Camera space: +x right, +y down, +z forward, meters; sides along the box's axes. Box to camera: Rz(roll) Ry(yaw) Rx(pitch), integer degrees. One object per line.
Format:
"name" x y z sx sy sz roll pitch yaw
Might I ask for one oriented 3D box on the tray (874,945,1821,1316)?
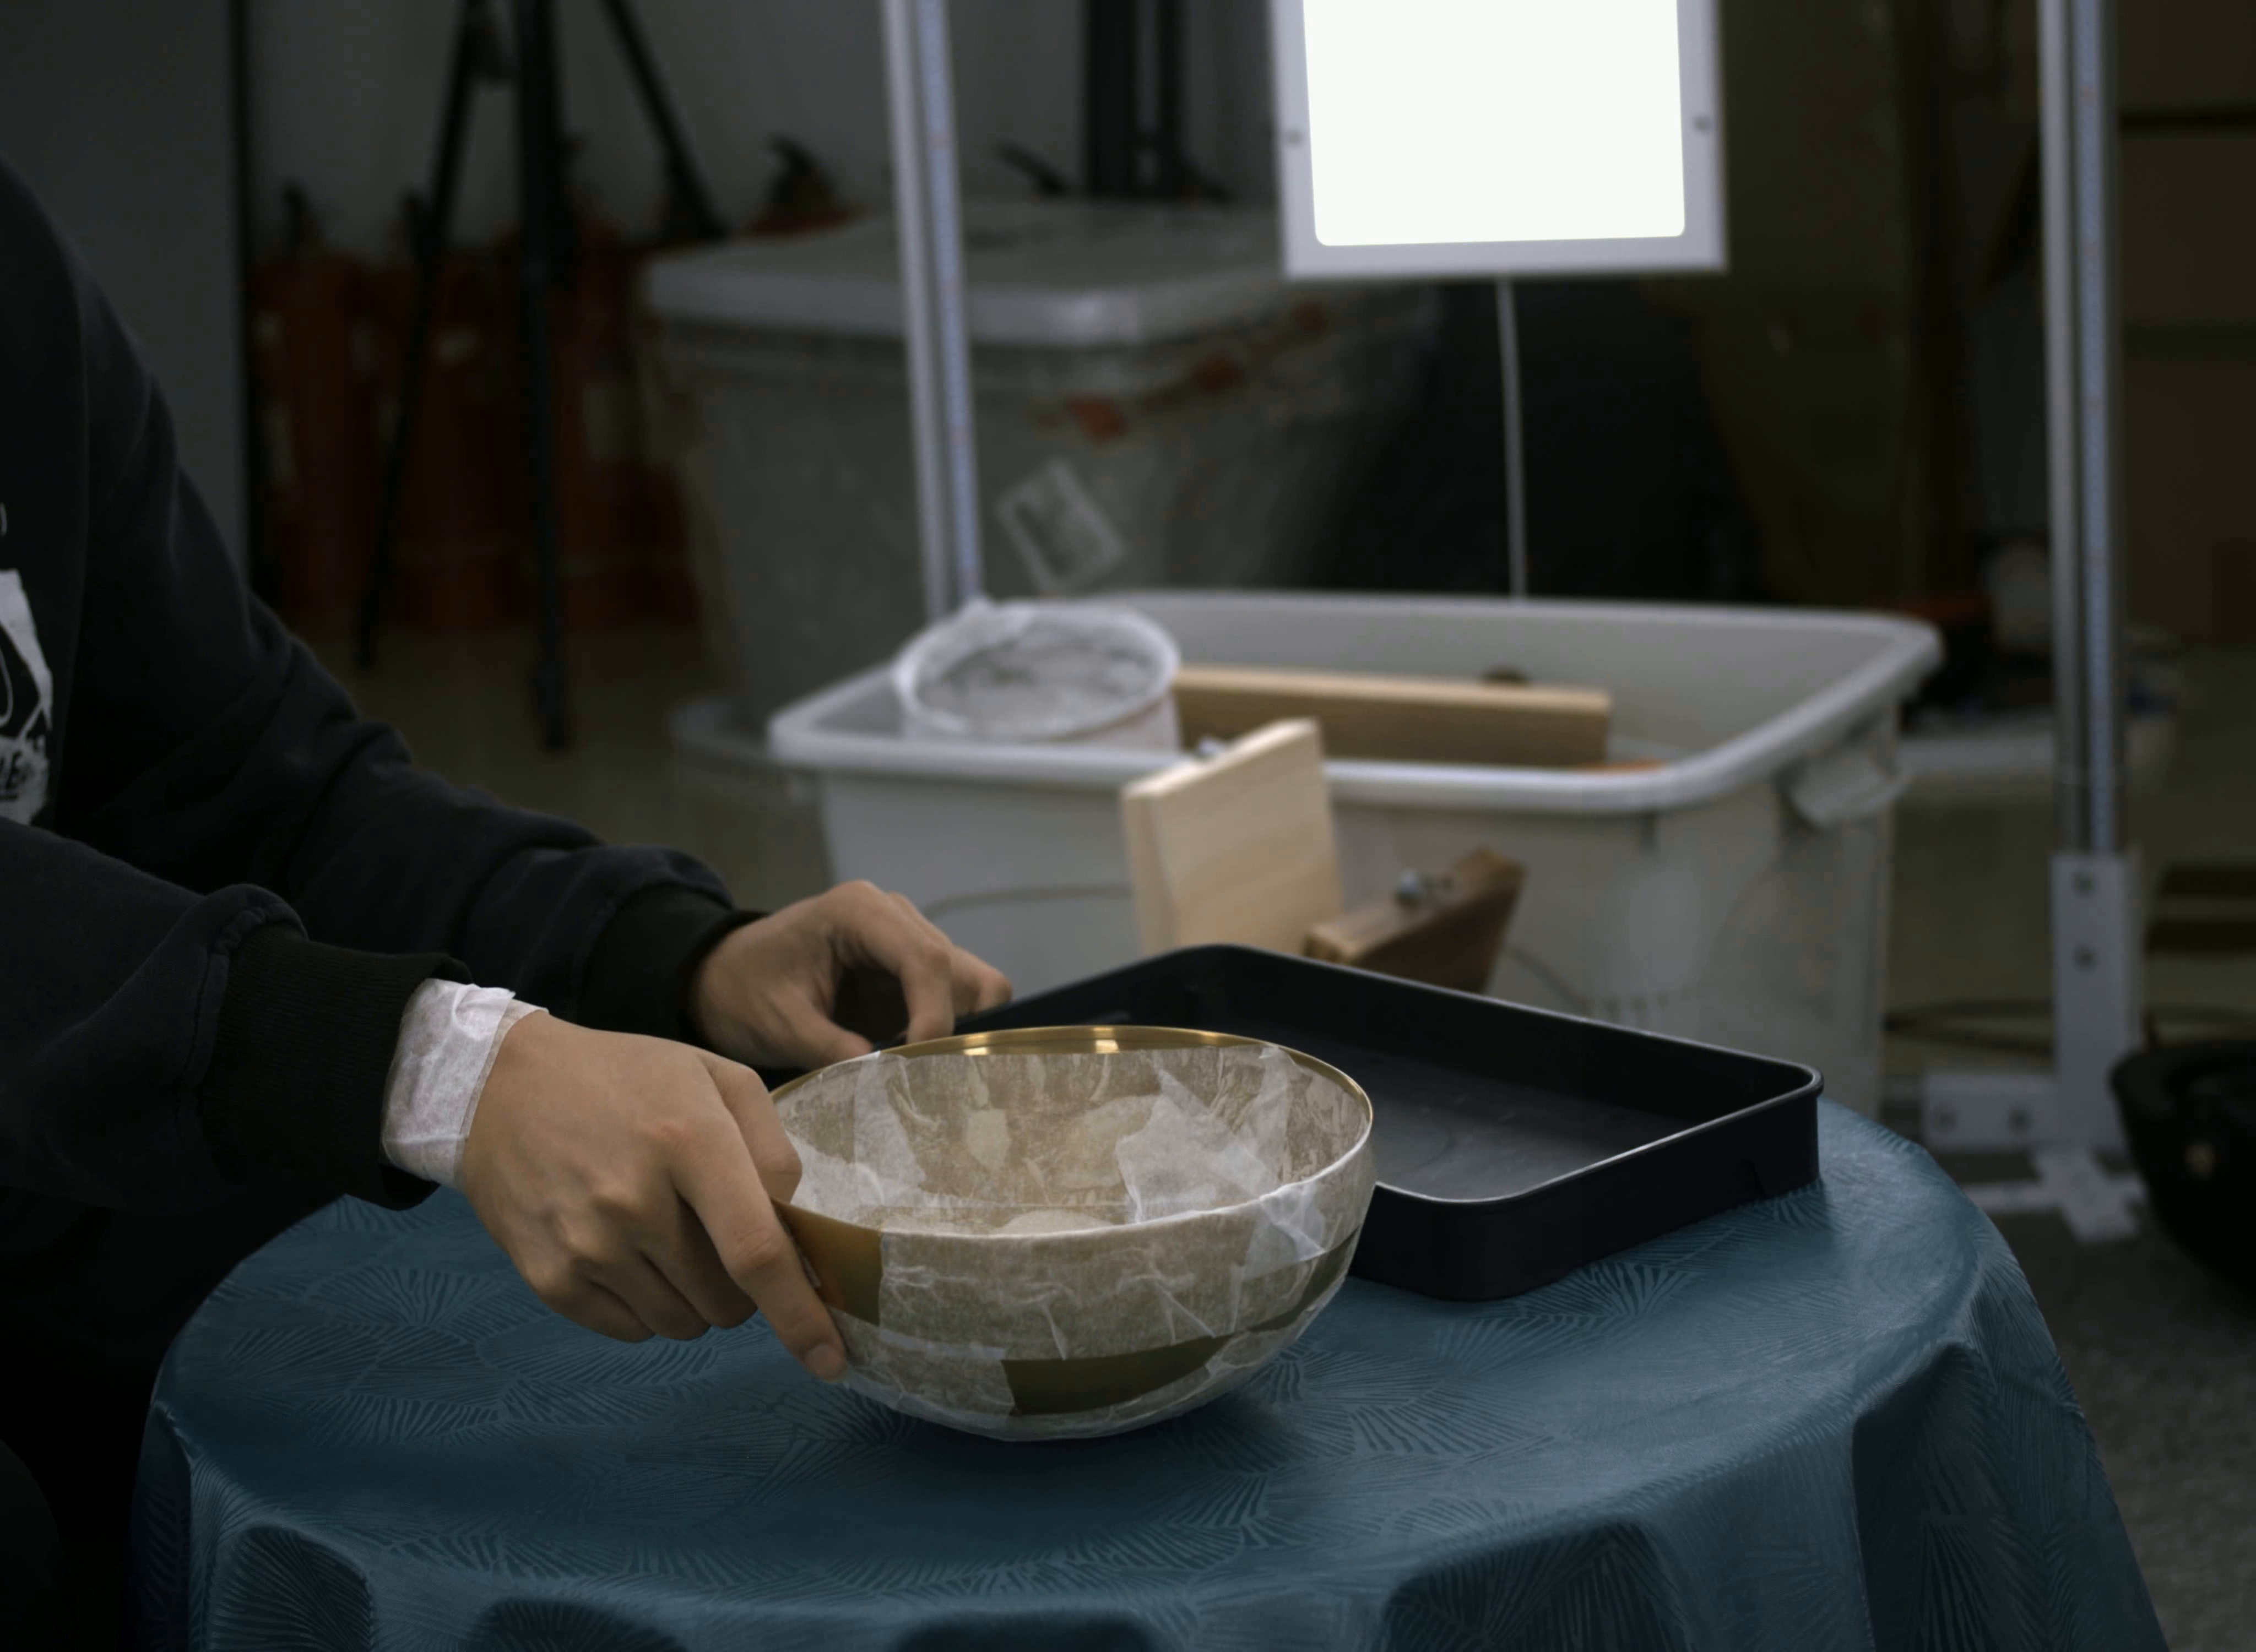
"tray" 0.072 0.101 1.912 0.179 0.037 0.324 -14 18 -37

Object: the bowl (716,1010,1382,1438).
"bowl" -0.021 0.130 1.689 0.214 0.095 0.214 -4 16 0
